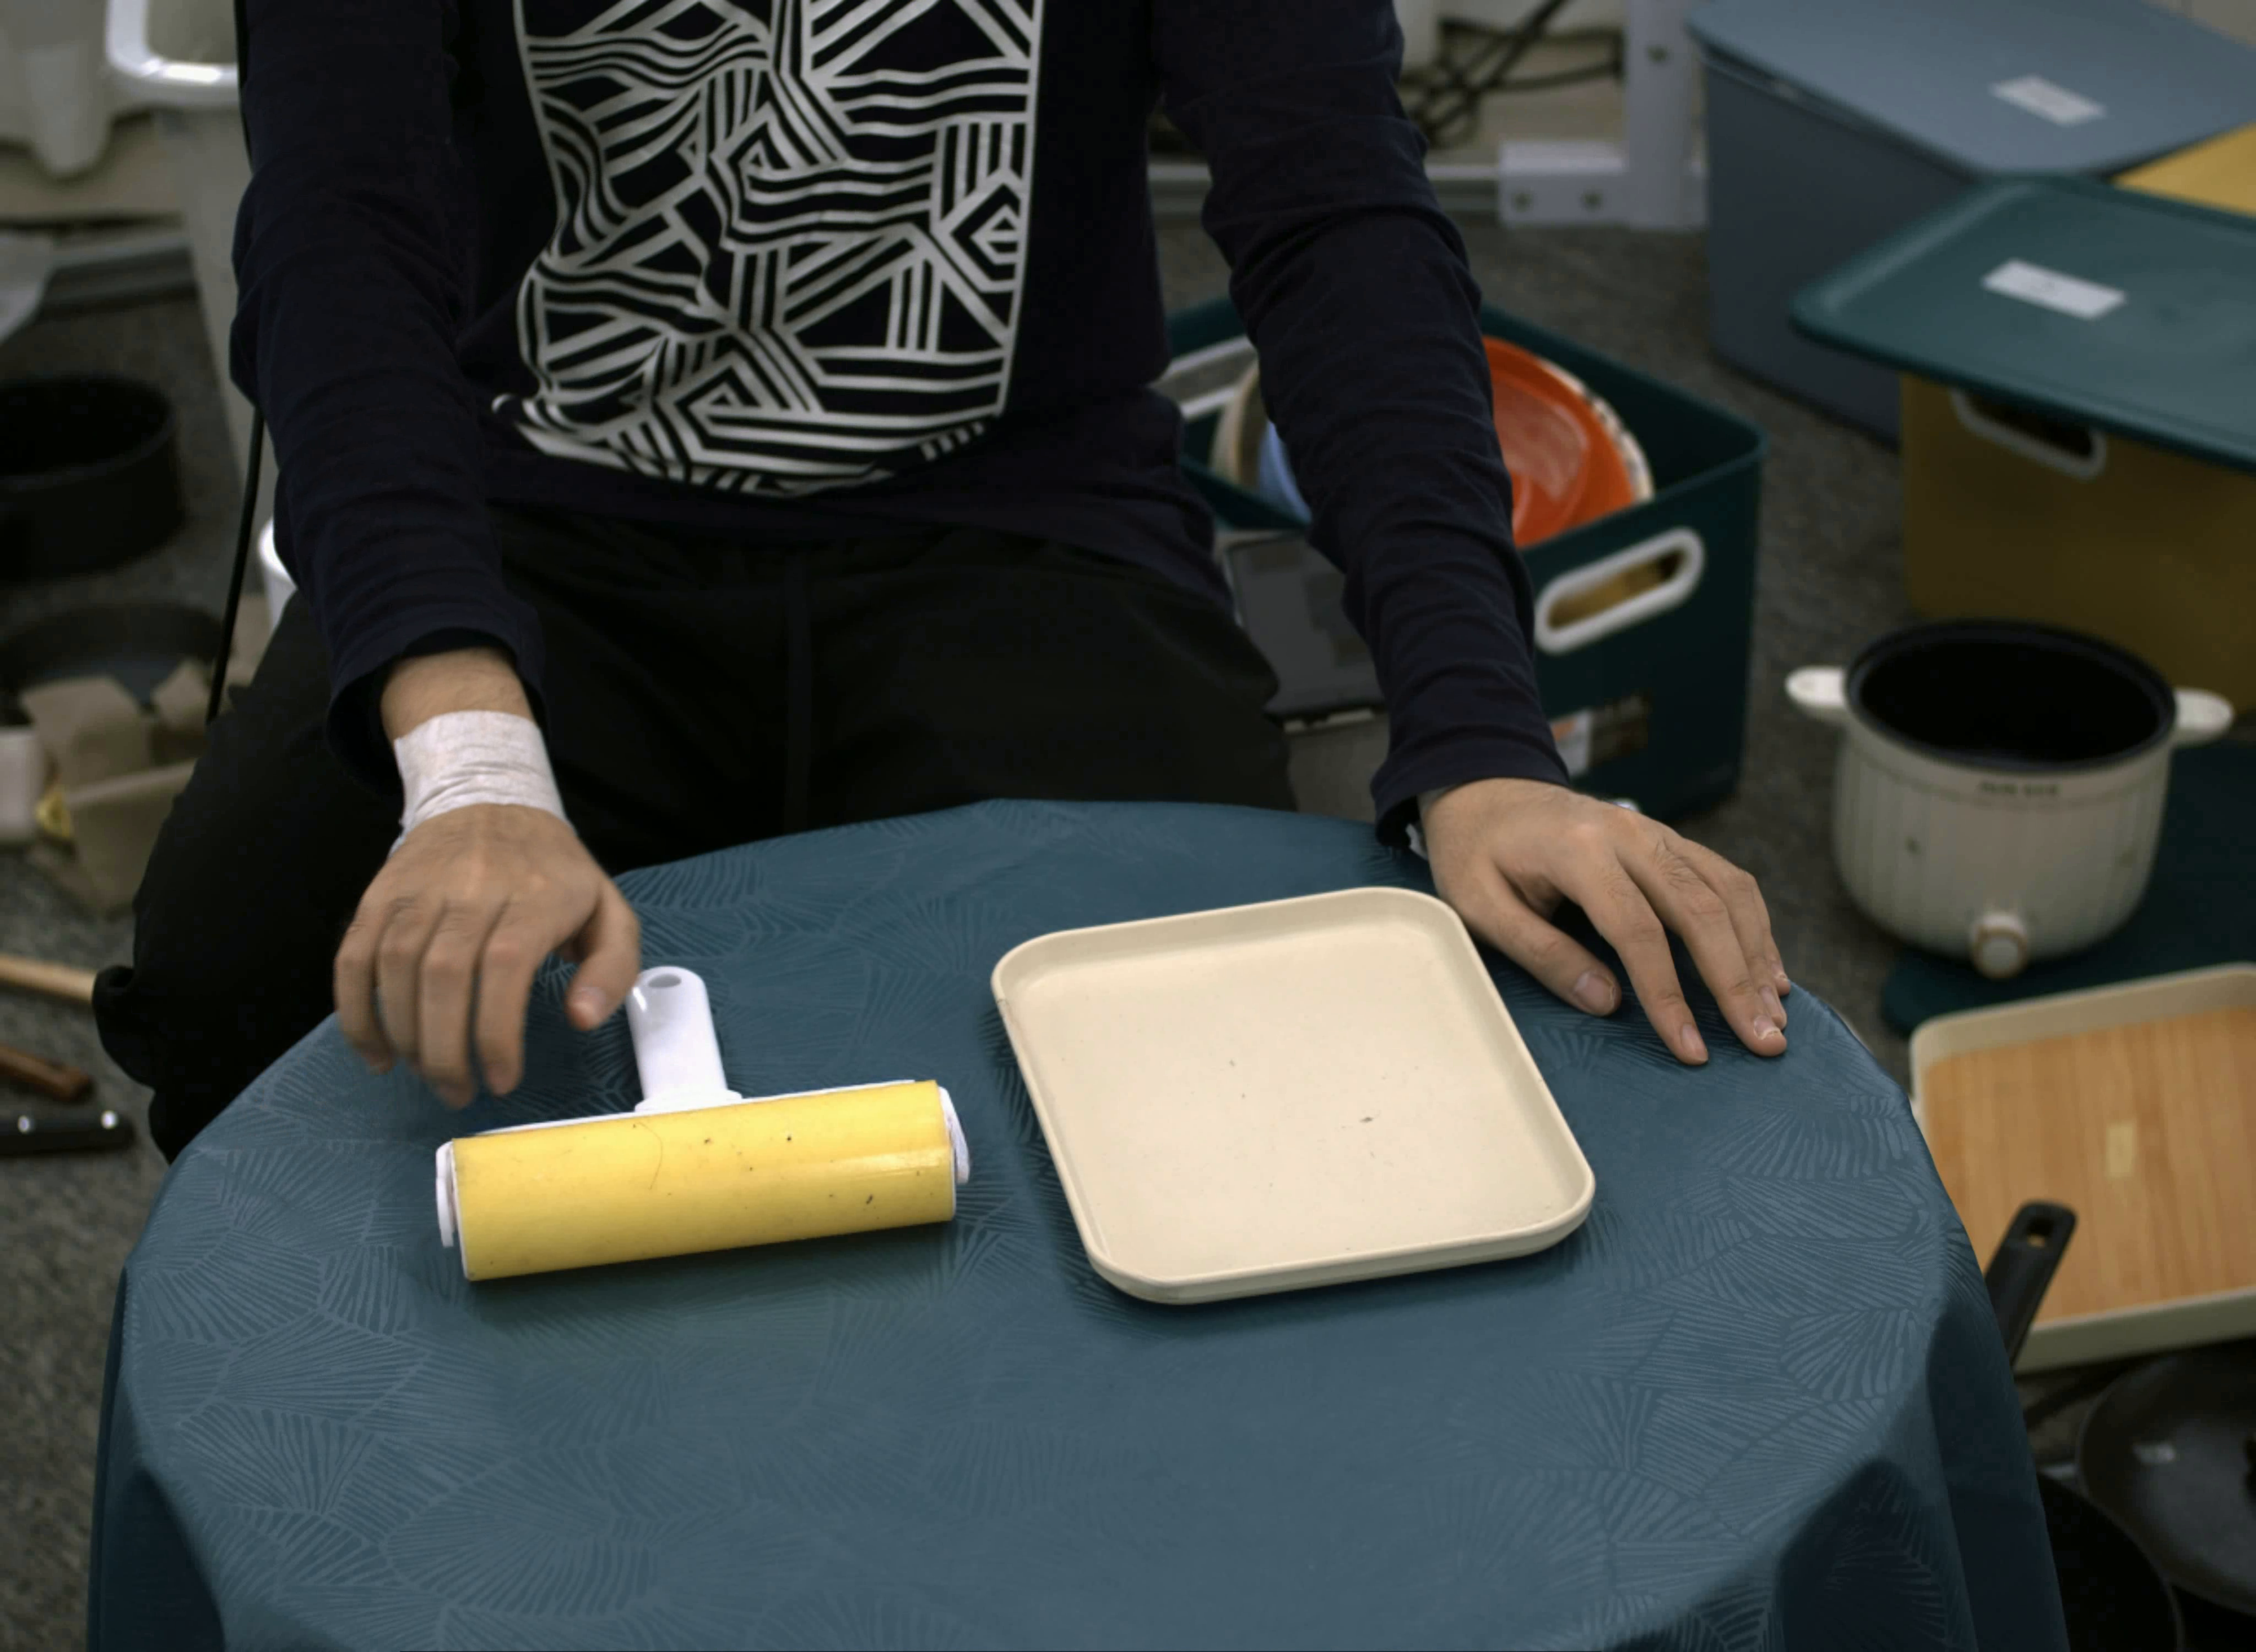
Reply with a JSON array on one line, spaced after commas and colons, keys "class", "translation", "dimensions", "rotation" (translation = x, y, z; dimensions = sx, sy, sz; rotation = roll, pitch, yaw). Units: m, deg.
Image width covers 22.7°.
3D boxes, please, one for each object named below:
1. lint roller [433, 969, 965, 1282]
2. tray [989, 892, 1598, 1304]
[{"class": "lint roller", "translation": [-0.153, 0.084, 1.897], "dimensions": [0.174, 0.051, 0.194], "rotation": [-6, 30, -9]}, {"class": "tray", "translation": [0.052, 0.090, 1.898], "dimensions": [0.171, 0.017, 0.242], "rotation": [-7, 27, -9]}]
